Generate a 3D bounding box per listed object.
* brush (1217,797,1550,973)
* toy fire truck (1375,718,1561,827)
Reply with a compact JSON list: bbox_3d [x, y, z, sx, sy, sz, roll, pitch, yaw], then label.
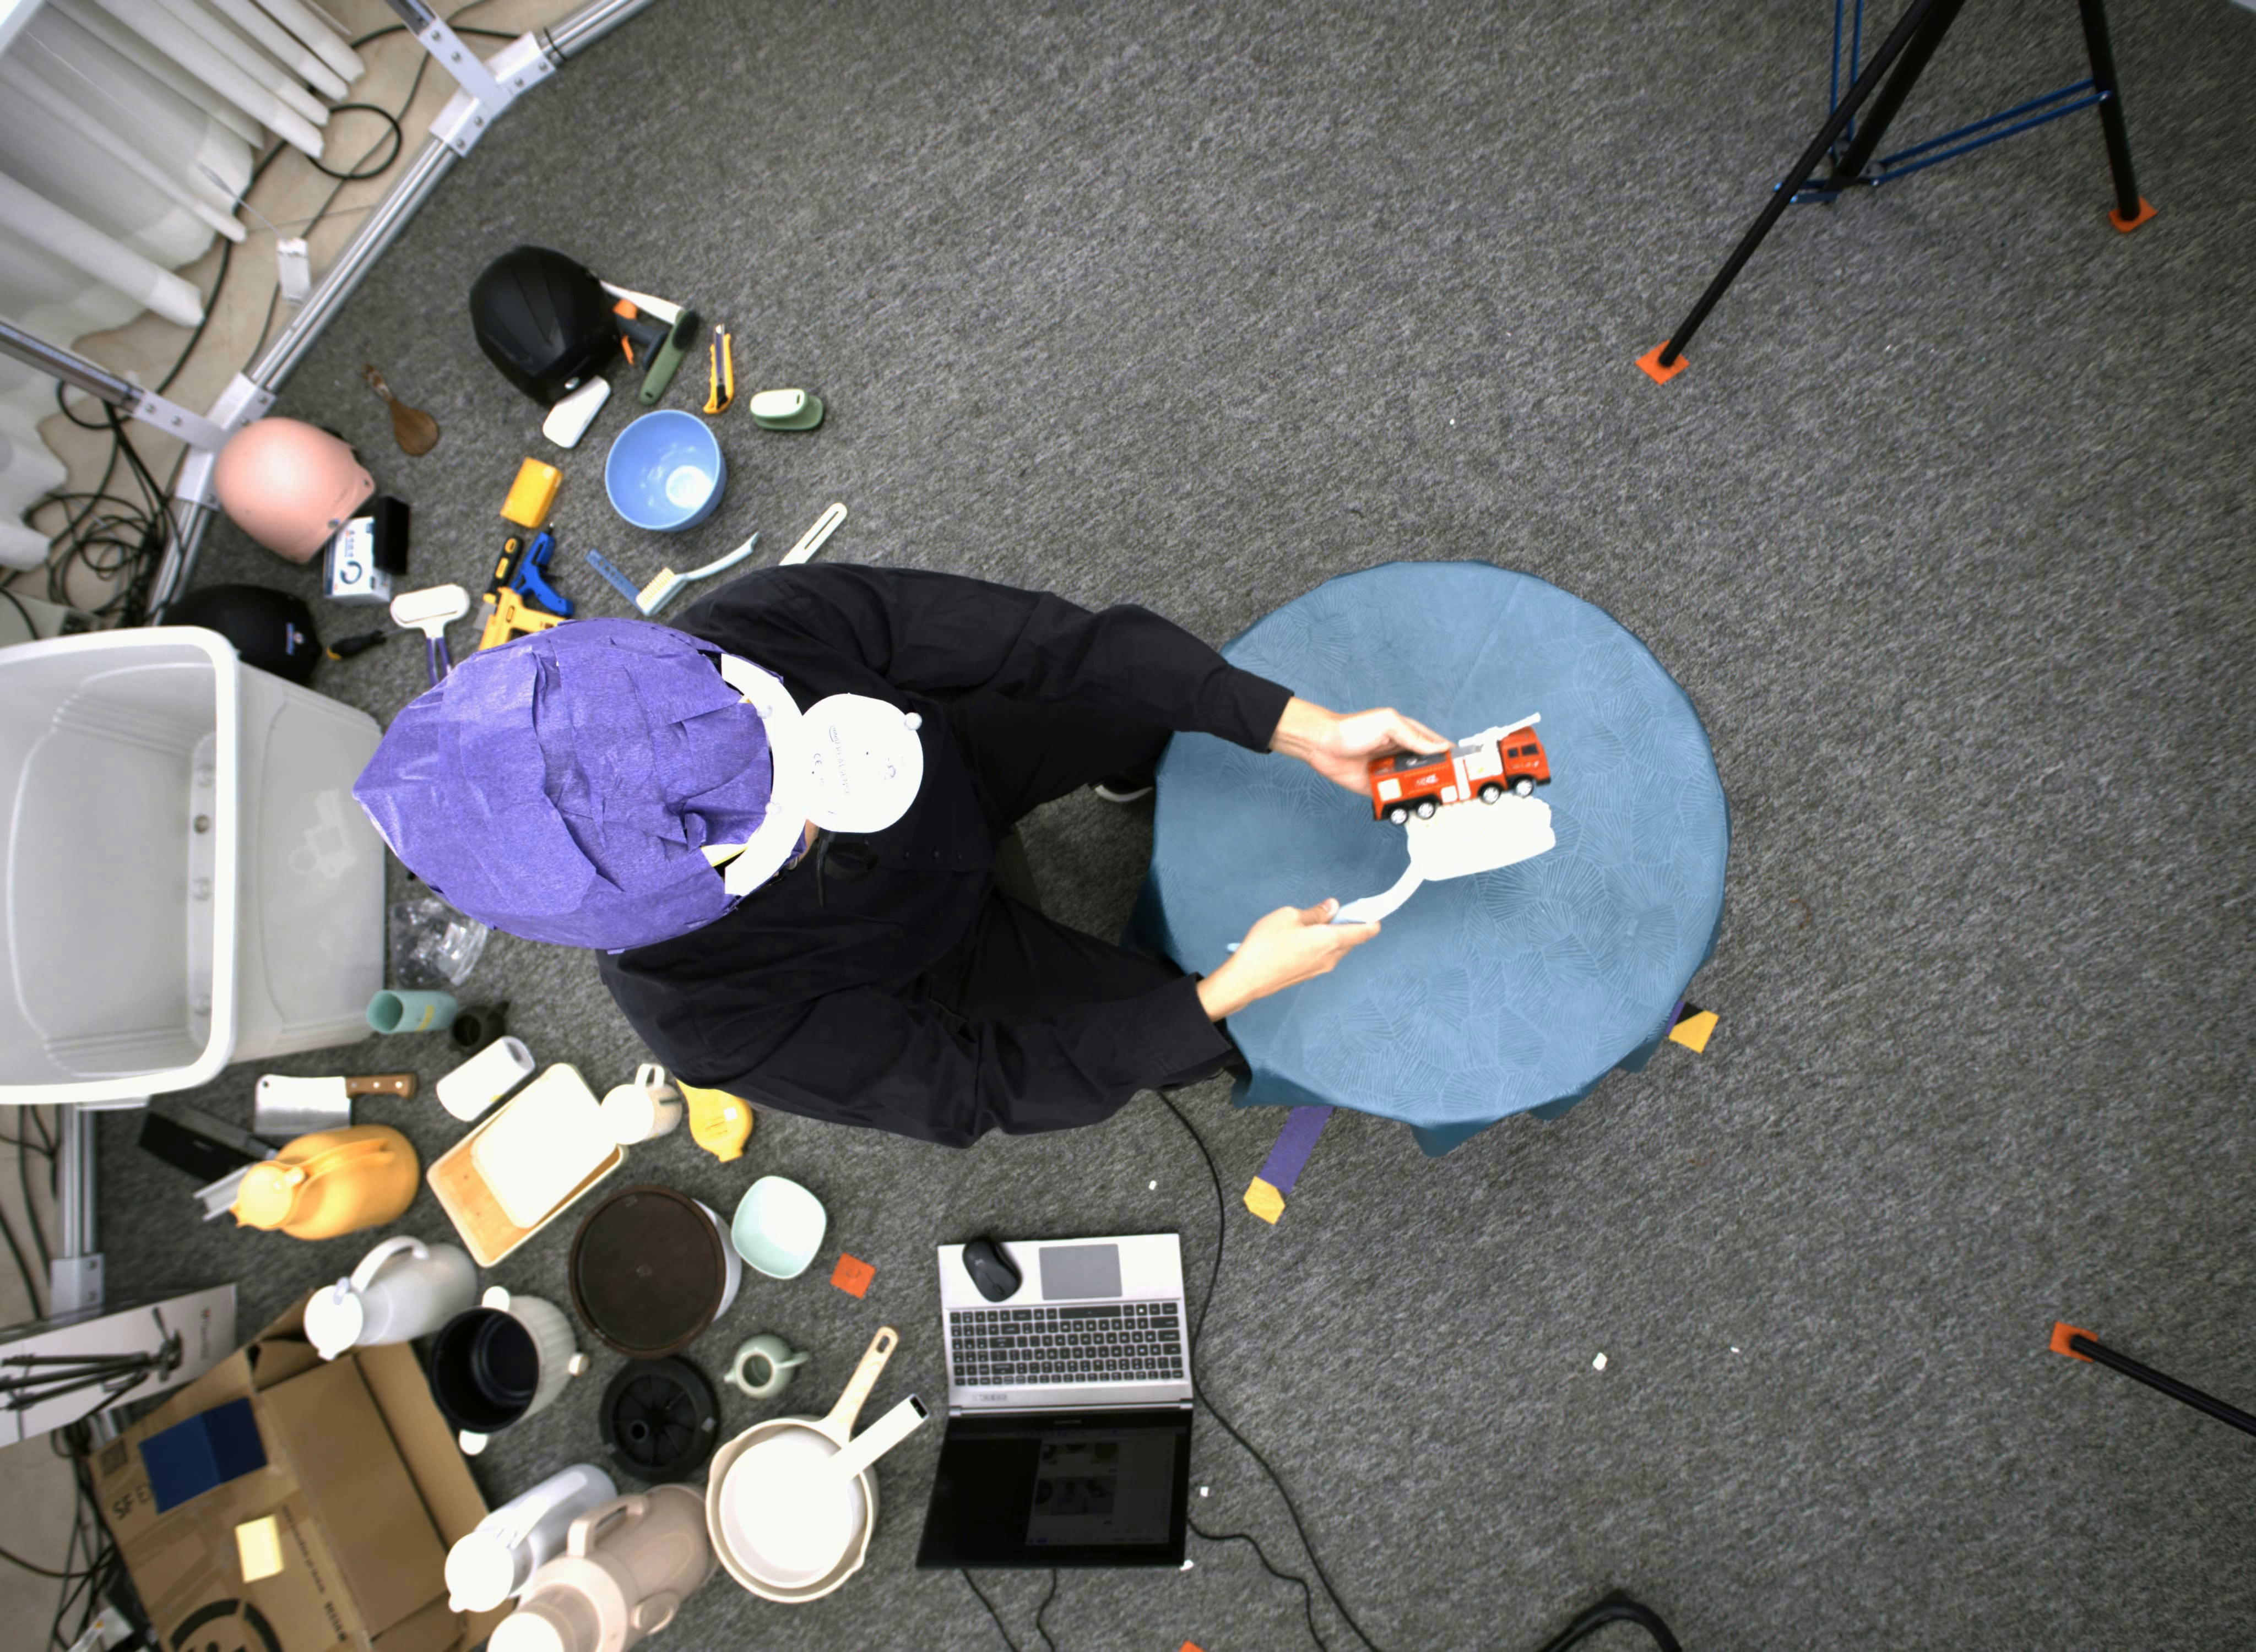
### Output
[{"bbox_3d":[0.227,0.041,1.279,0.328,0.083,0.083,-22,101,12],"label":"brush"},{"bbox_3d":[0.306,-0.048,1.247,0.169,0.053,0.071,-14,113,14],"label":"toy fire truck"}]
